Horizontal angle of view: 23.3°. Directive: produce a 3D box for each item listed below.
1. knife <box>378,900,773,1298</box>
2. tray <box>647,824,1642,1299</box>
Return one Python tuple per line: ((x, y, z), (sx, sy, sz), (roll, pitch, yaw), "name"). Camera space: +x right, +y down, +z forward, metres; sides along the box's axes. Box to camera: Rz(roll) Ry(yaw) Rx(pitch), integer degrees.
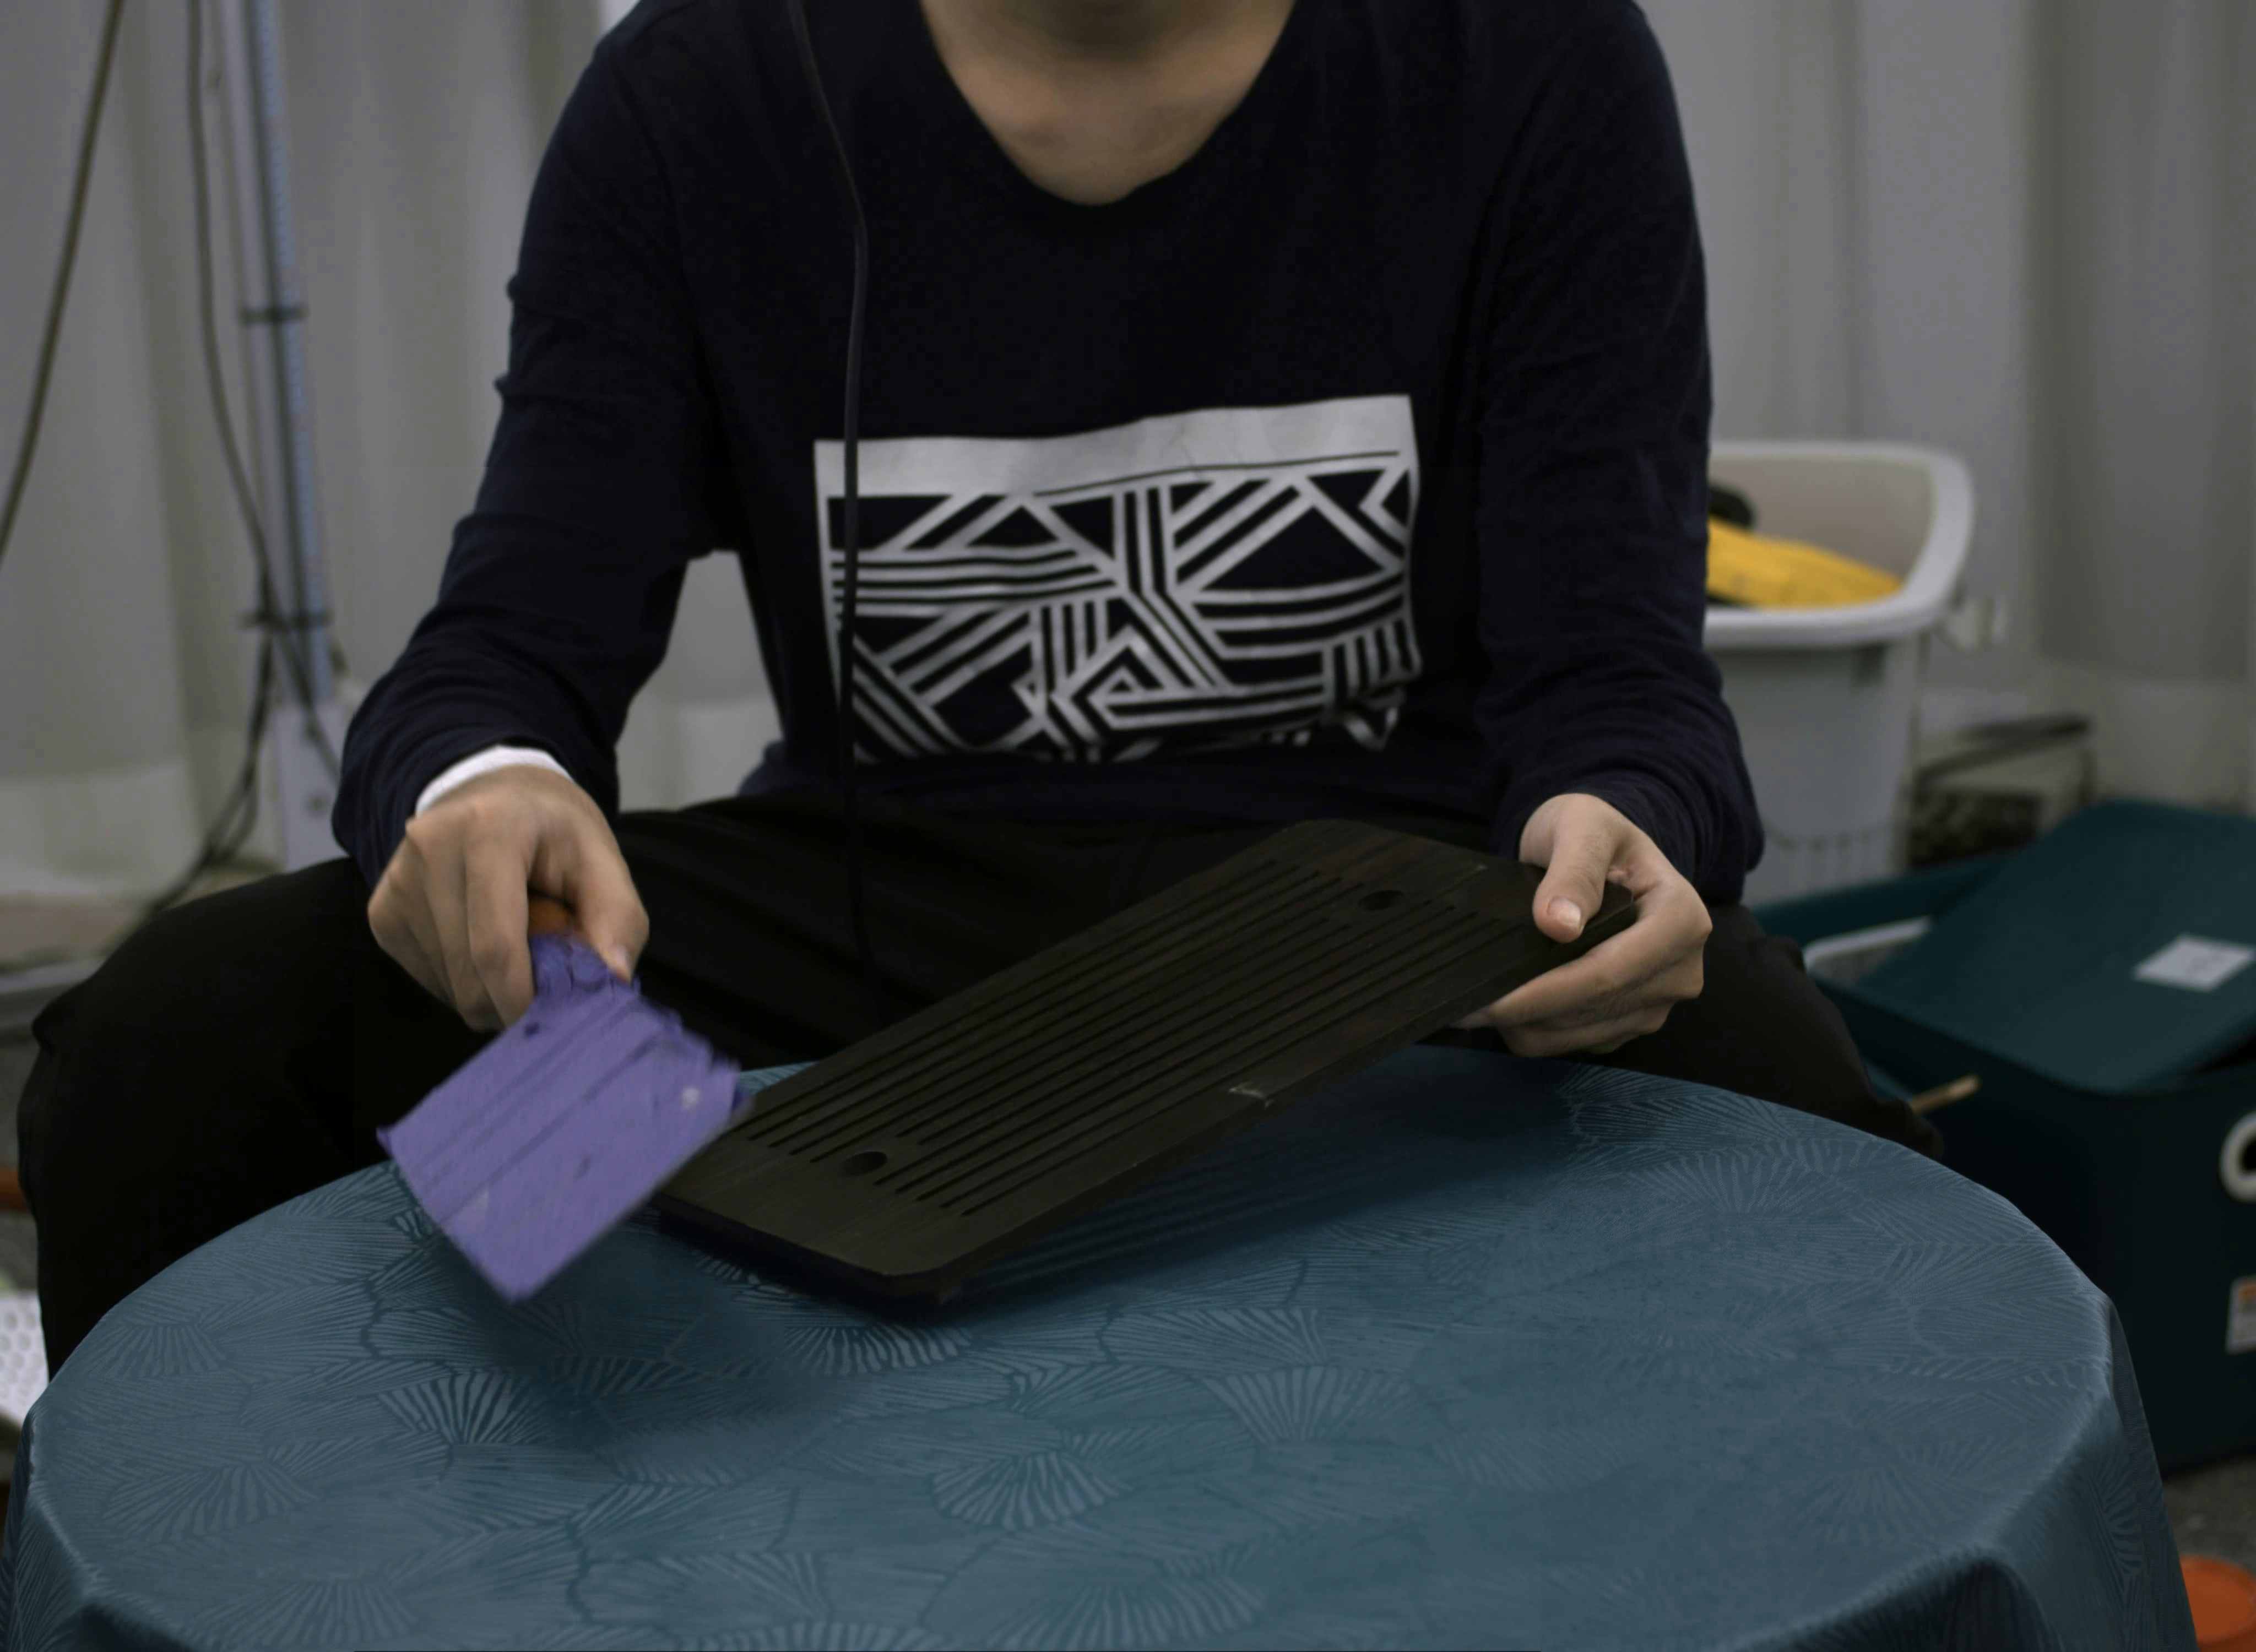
((-0.185, 0.079, 1.662), (0.104, 0.032, 0.317), (-39, 17, -8), "knife")
((0.005, 0.072, 1.735), (0.306, 0.018, 0.171), (-25, 23, -33), "tray")
